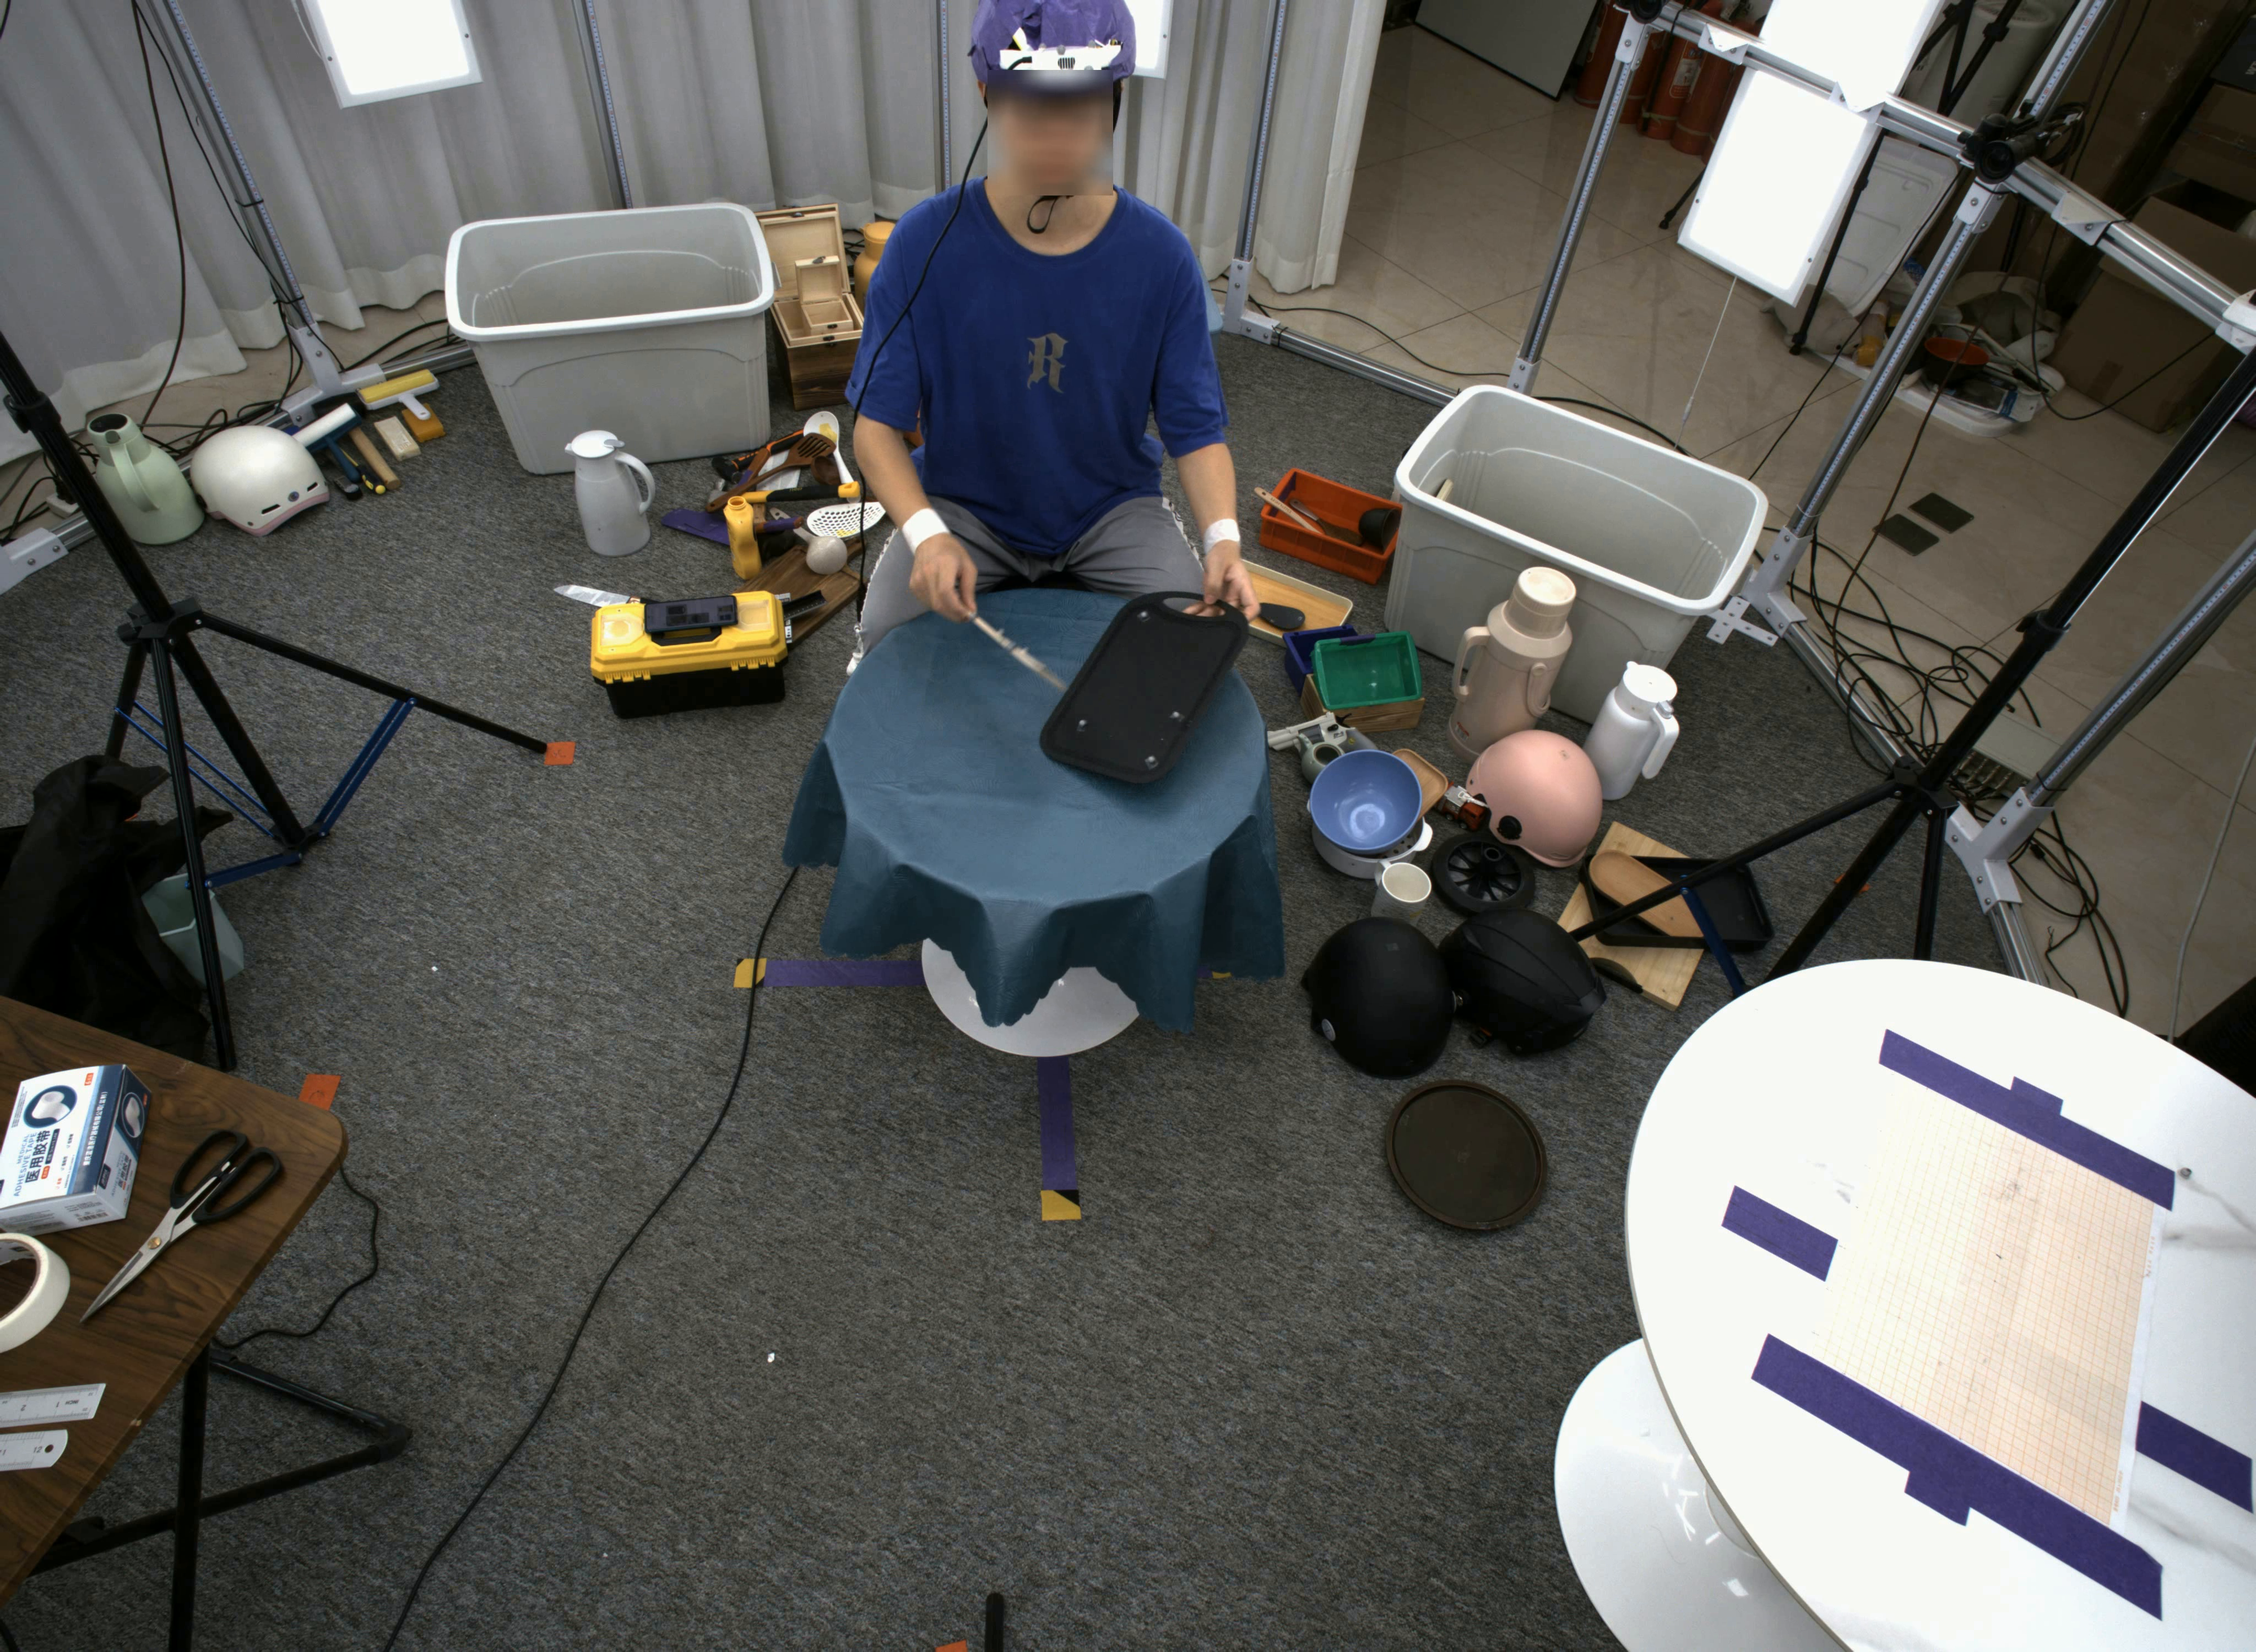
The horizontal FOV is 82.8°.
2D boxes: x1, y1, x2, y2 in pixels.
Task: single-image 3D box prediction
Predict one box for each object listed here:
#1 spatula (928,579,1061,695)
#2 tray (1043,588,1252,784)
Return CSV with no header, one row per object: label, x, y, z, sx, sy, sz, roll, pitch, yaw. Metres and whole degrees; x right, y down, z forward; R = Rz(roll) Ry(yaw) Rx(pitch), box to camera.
spatula,-0.191,-0.263,1.745,0.010,0.071,0.299,-51,54,7
tray,0.031,-0.207,1.776,0.213,0.009,0.330,19,64,28
